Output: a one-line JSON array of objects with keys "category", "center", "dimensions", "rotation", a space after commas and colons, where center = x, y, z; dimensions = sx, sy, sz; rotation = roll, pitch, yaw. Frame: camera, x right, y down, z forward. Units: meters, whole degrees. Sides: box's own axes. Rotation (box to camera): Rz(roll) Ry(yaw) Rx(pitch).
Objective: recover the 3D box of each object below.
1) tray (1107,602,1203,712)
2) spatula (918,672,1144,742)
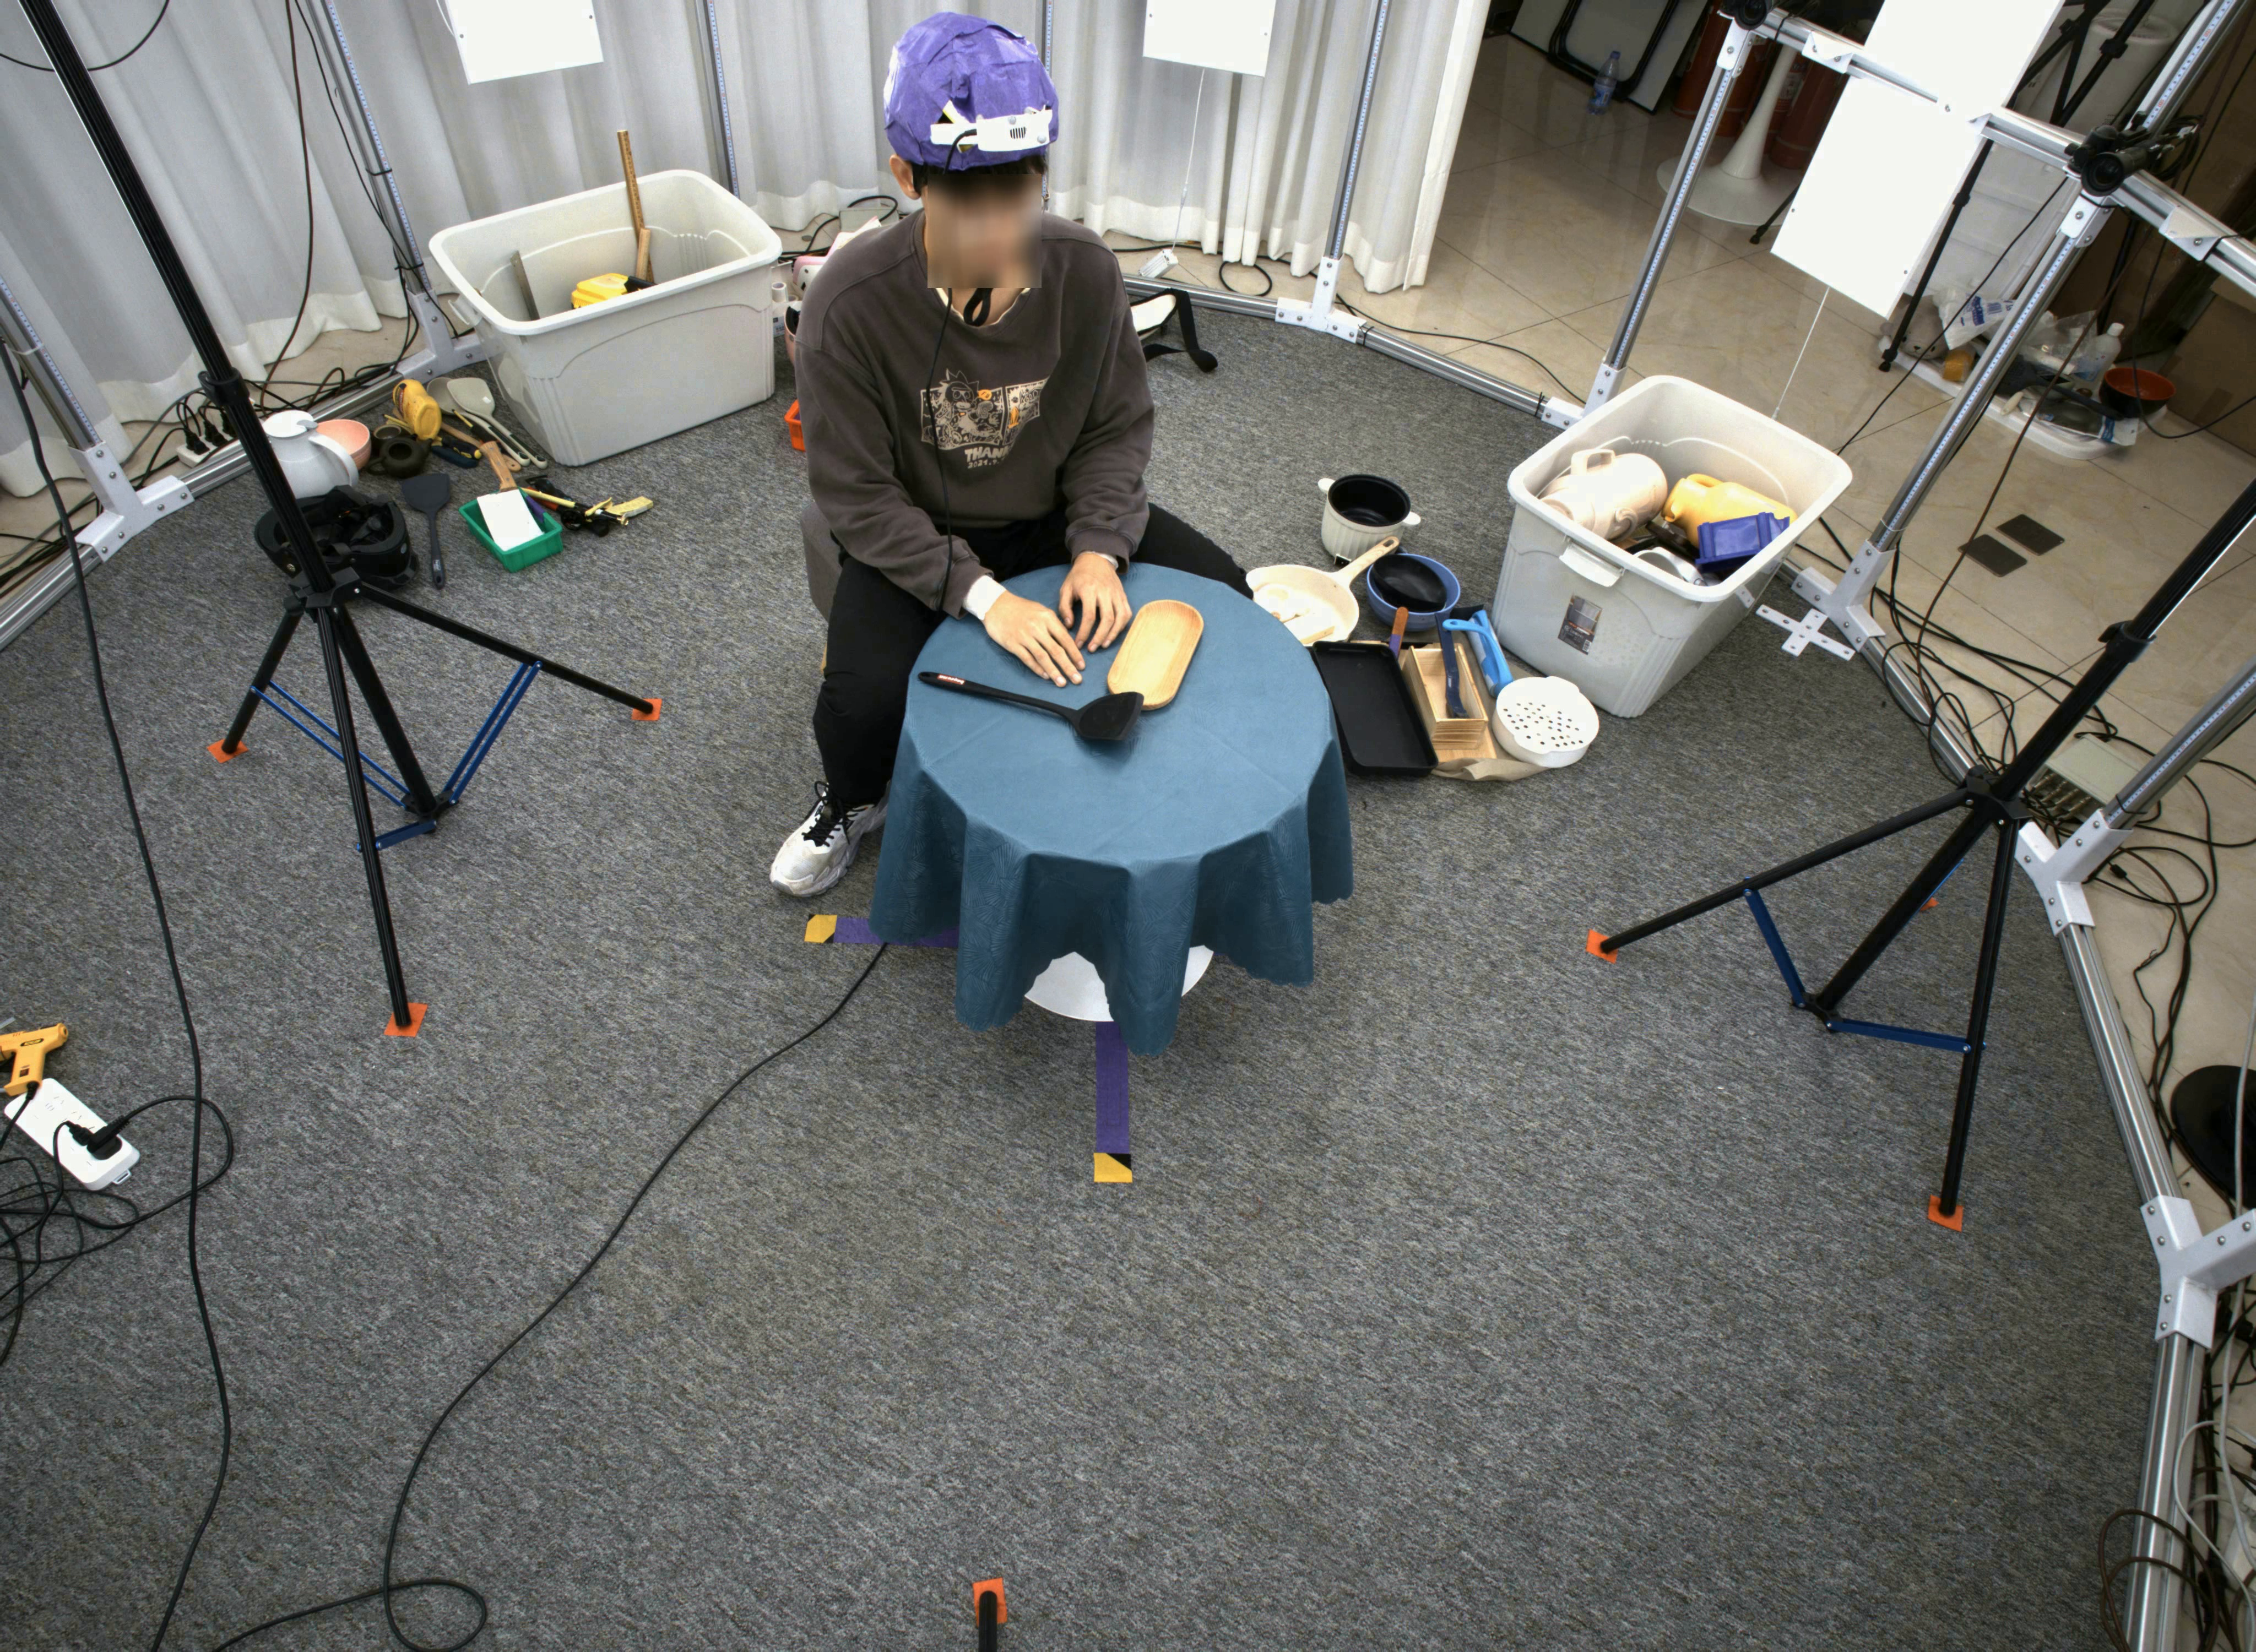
[{"category": "tray", "center": [0.041, -0.249, 1.874], "dimensions": [0.102, 0.020, 0.236], "rotation": [15, 51, 10]}, {"category": "spatula", "center": [-0.142, -0.180, 1.789], "dimensions": [0.327, 0.039, 0.102], "rotation": [16, 48, 10]}]
